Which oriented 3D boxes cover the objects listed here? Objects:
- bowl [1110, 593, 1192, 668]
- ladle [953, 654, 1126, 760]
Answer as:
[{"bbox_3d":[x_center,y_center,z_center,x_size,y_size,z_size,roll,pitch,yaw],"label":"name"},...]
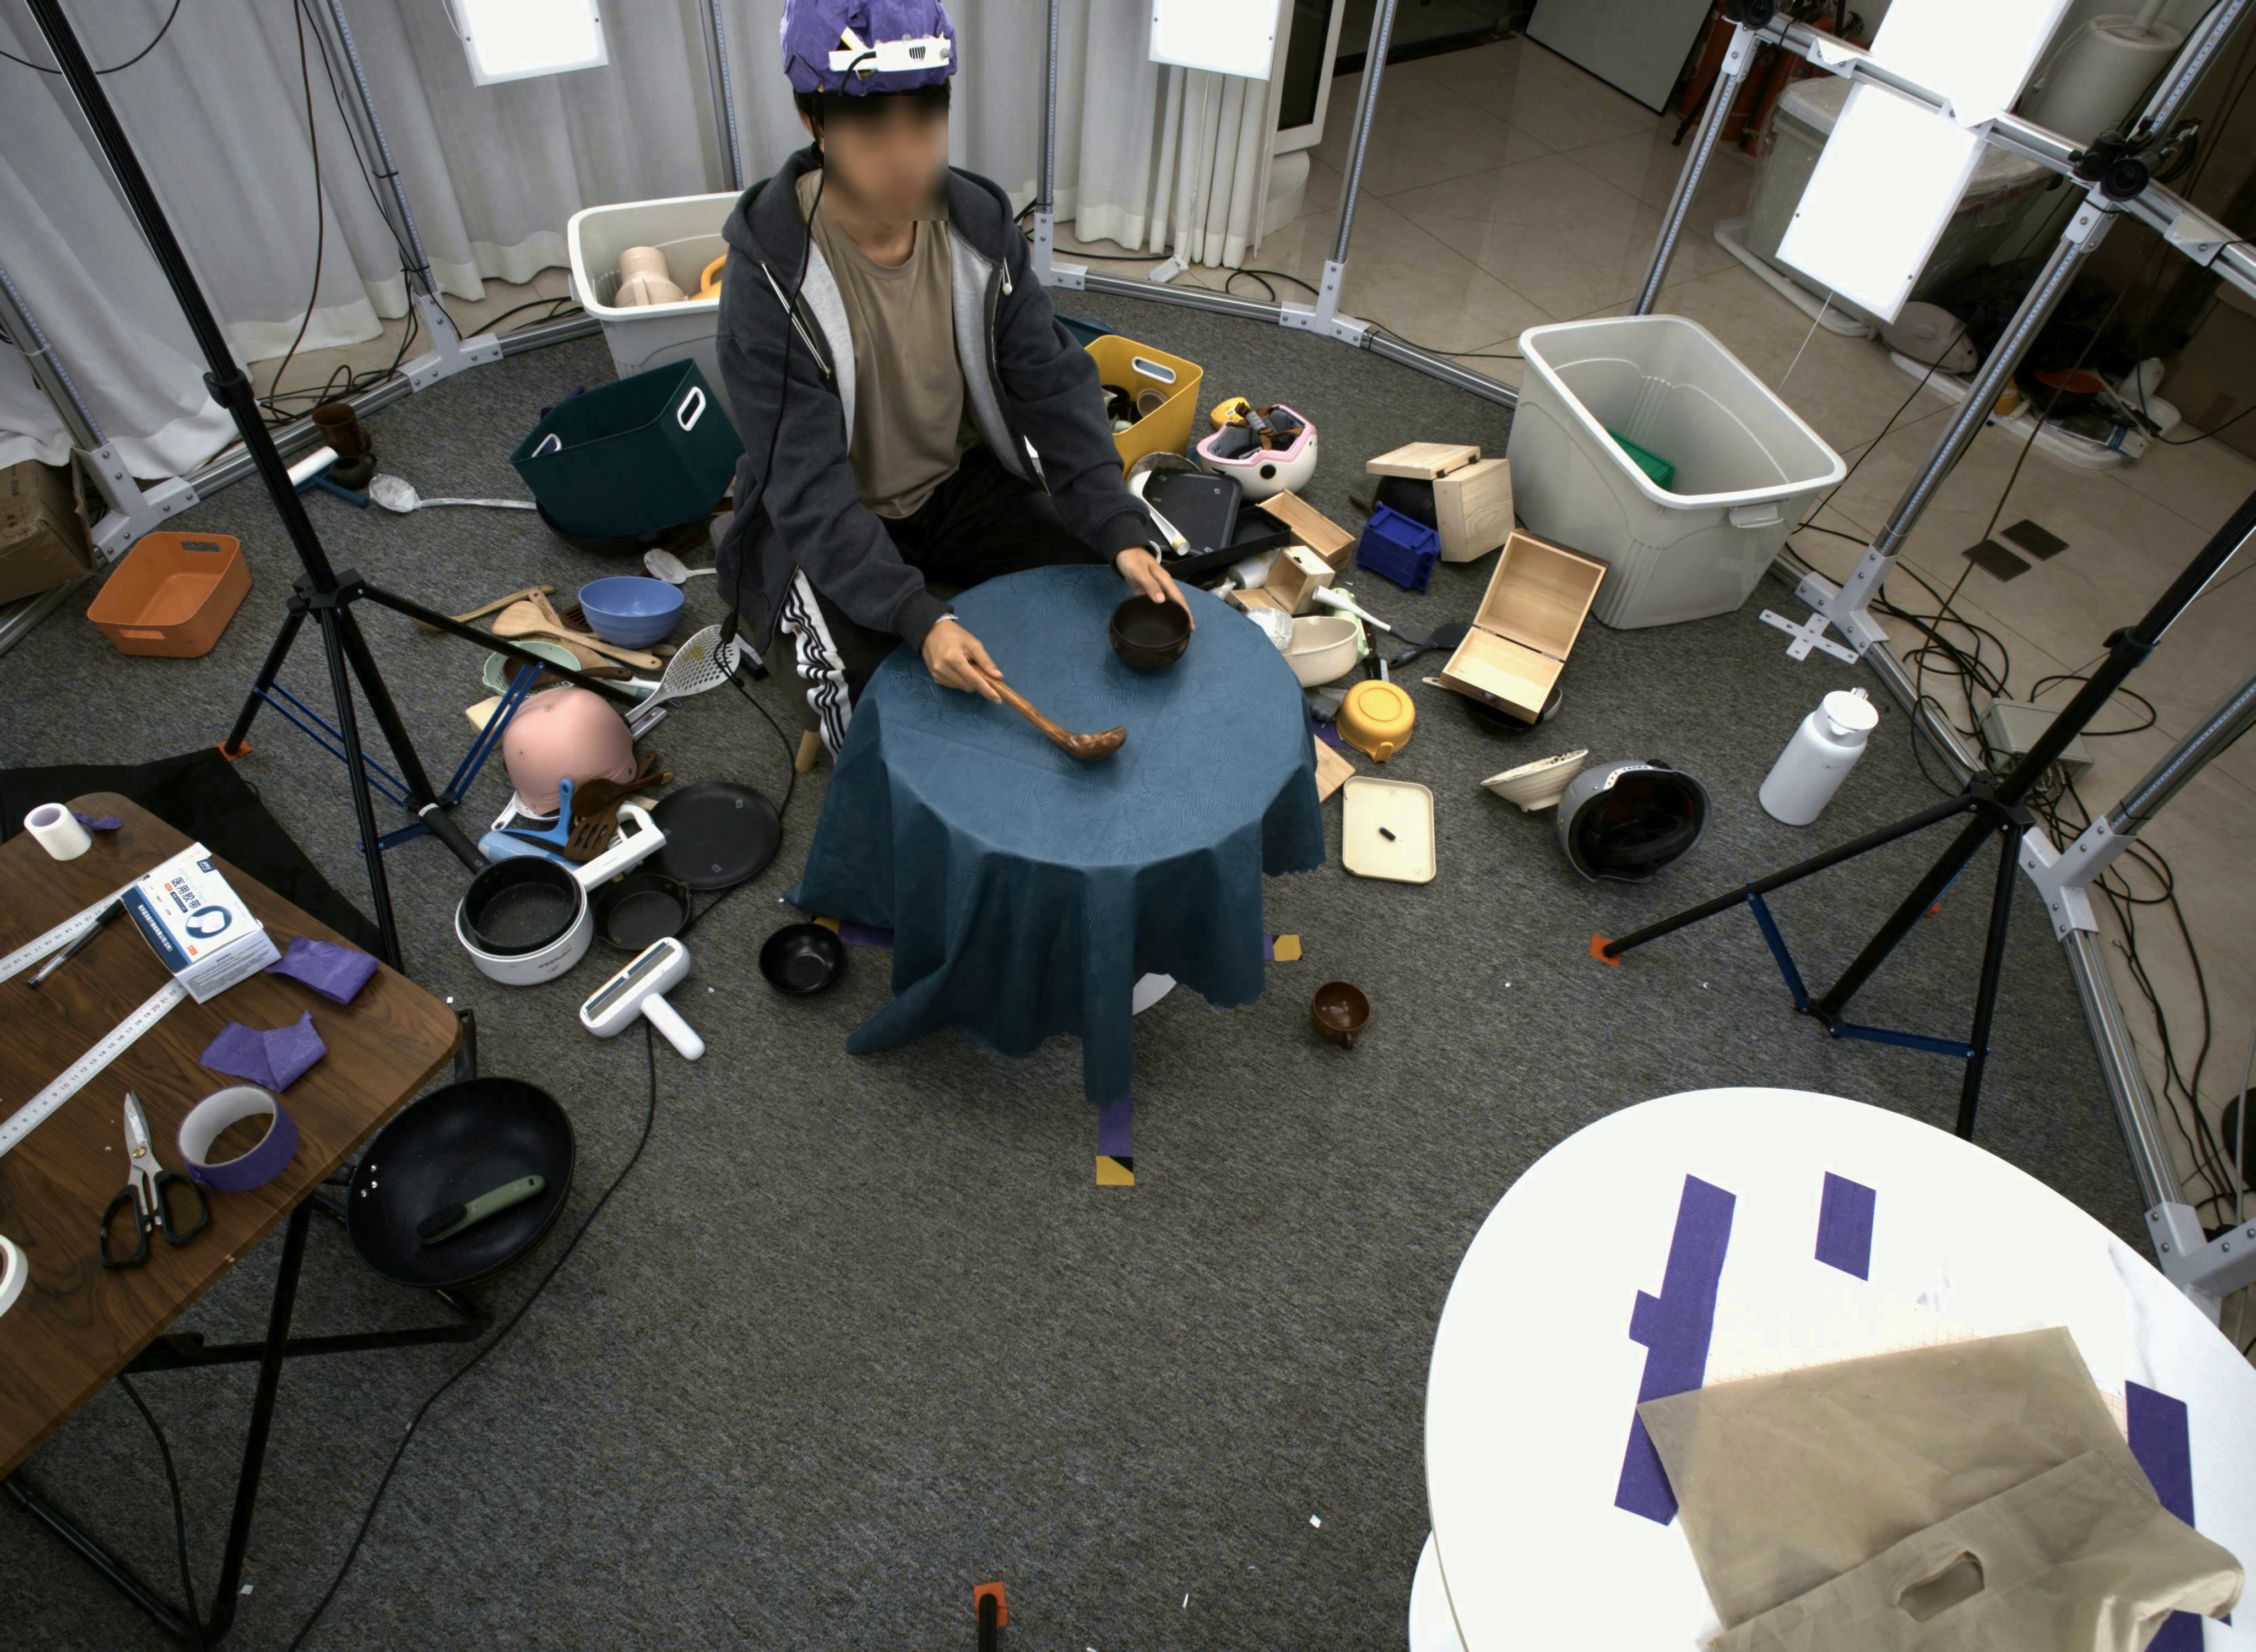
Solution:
[{"bbox_3d":[0.032,-0.274,1.858,0.118,0.068,0.121,0,49,-1],"label":"bowl"},{"bbox_3d":[-0.123,-0.178,1.746,0.277,0.075,0.082,38,29,16],"label":"ladle"}]
